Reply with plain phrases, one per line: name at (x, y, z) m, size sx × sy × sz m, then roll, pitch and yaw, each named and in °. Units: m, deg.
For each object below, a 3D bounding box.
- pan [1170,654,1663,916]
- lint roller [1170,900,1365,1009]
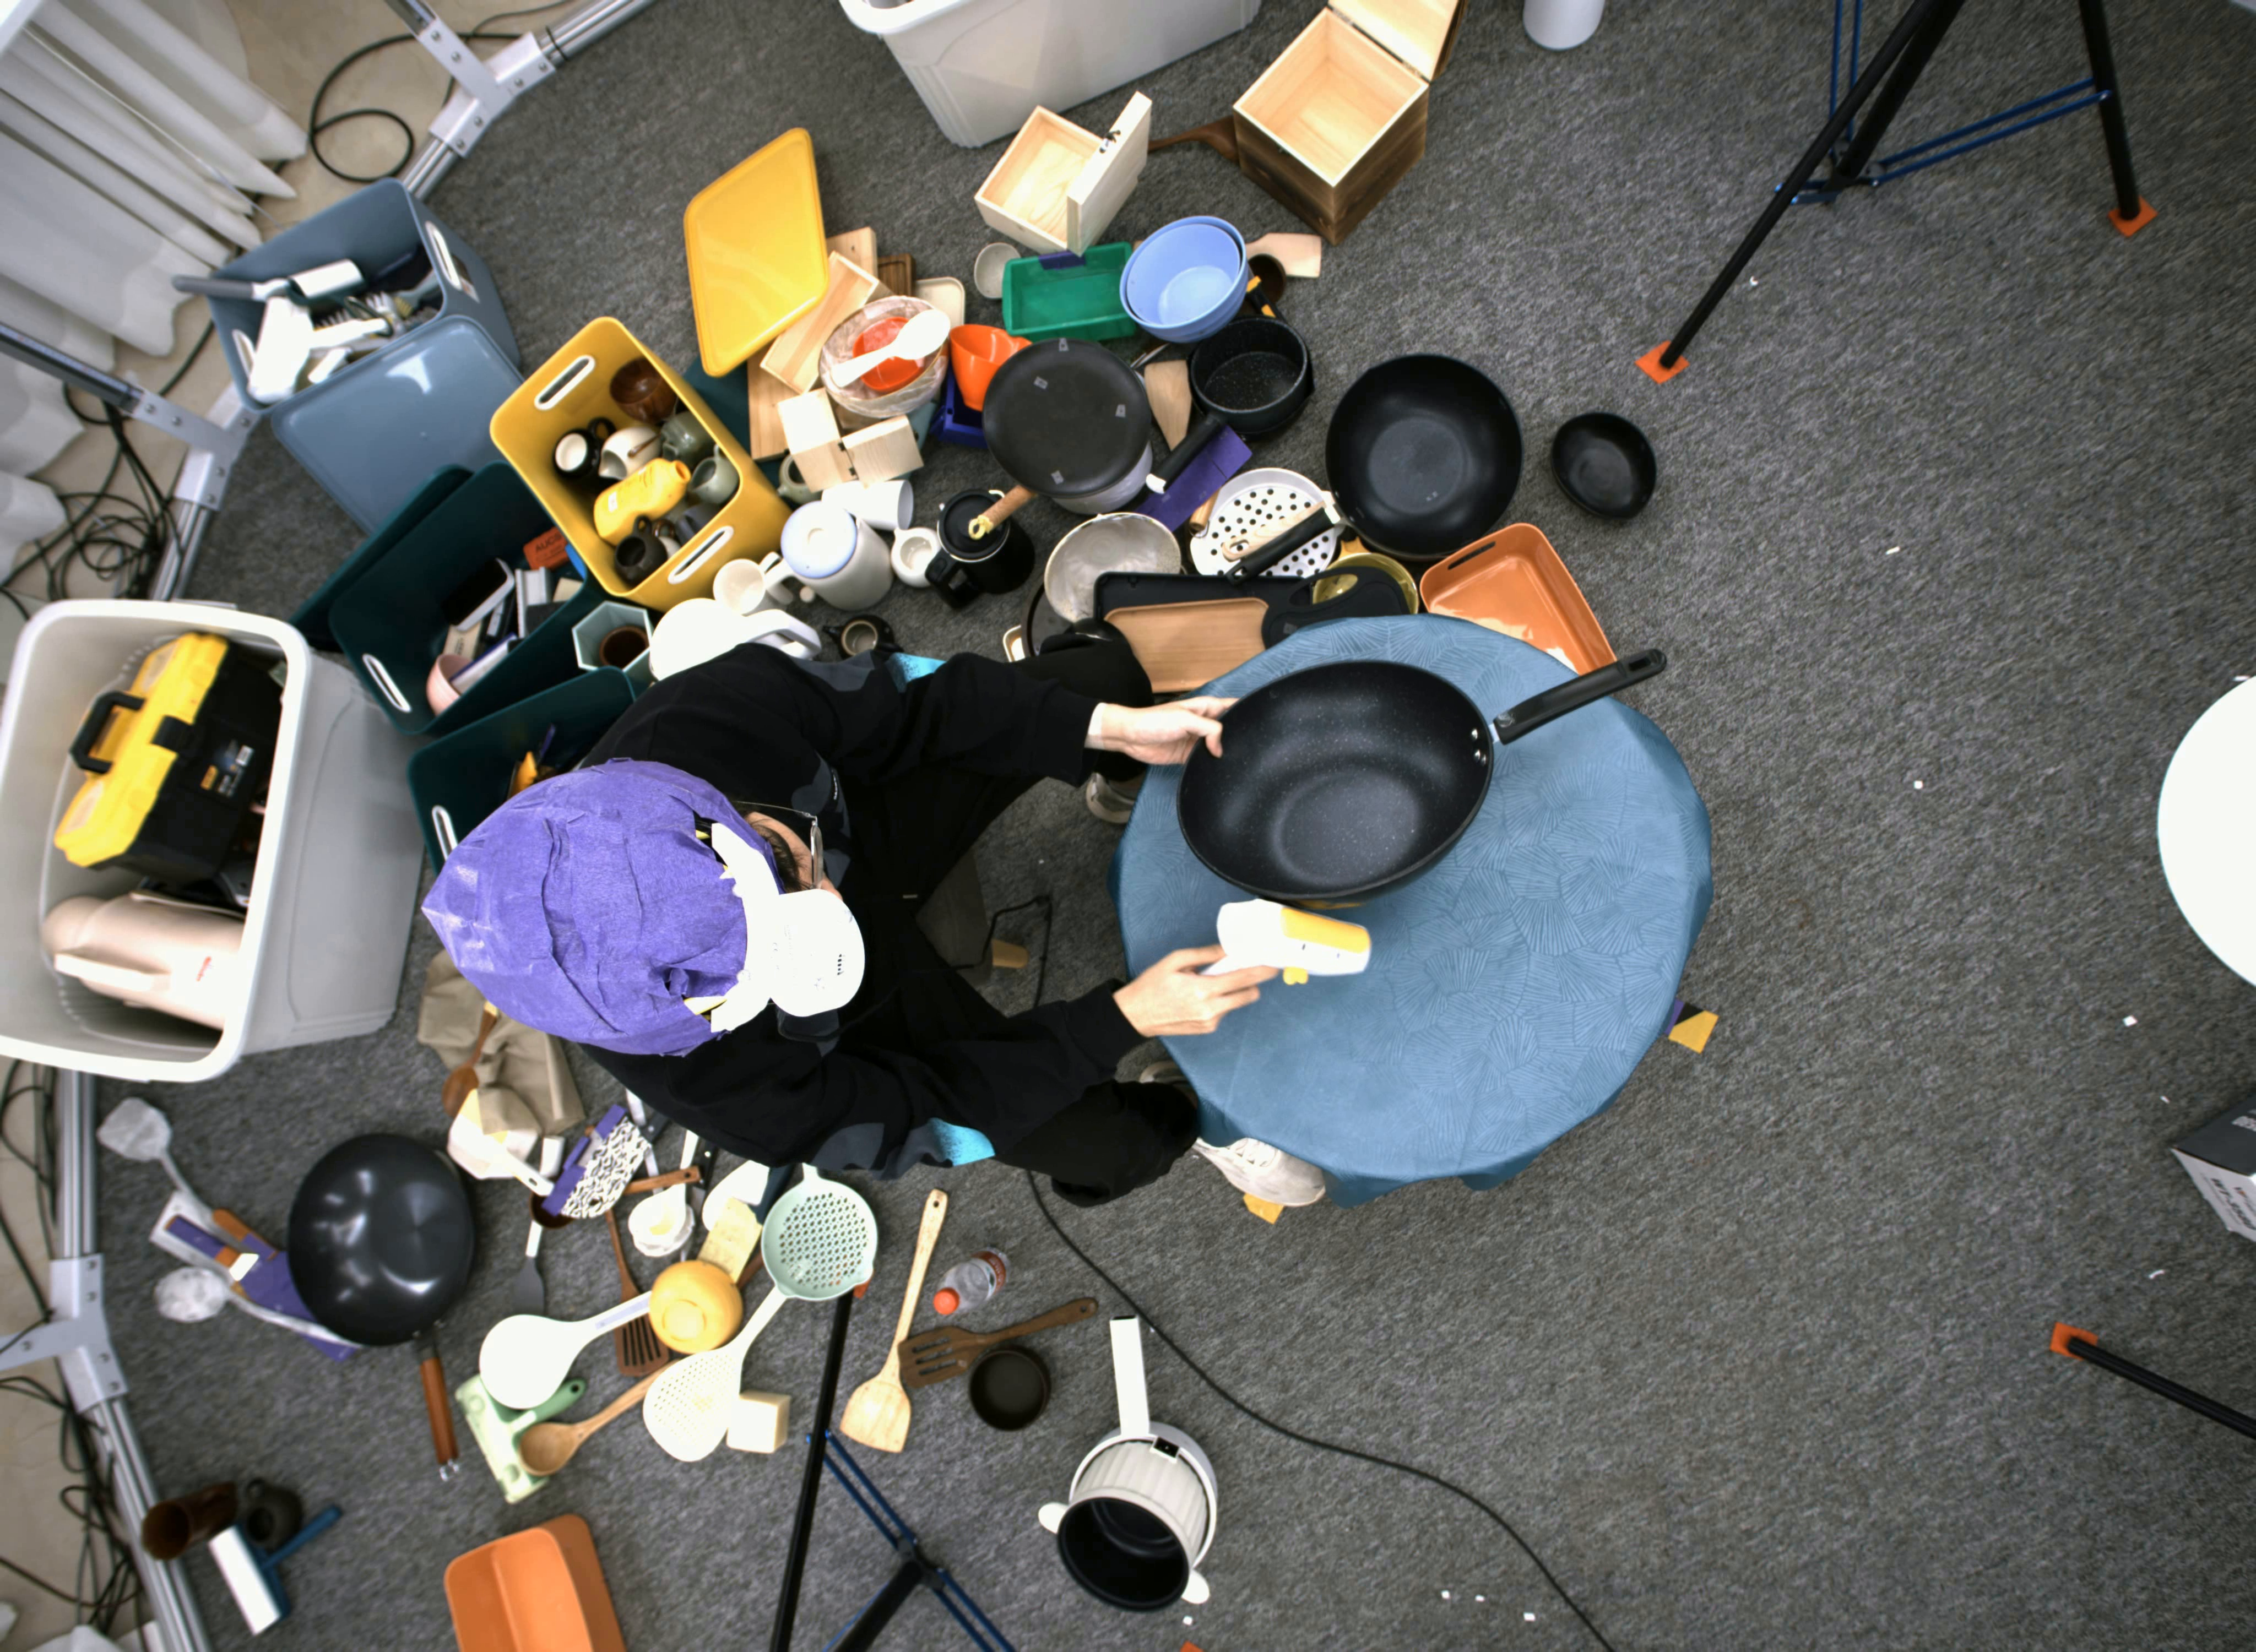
pan at (0.276, -0.056, 1.324) m, size 0.480 × 0.114 × 0.302 m, roll -16°, pitch 49°, yaw 12°
lint roller at (0.113, 0.130, 1.356) m, size 0.196 × 0.192 × 0.073 m, roll -23°, pitch 69°, yaw 41°
